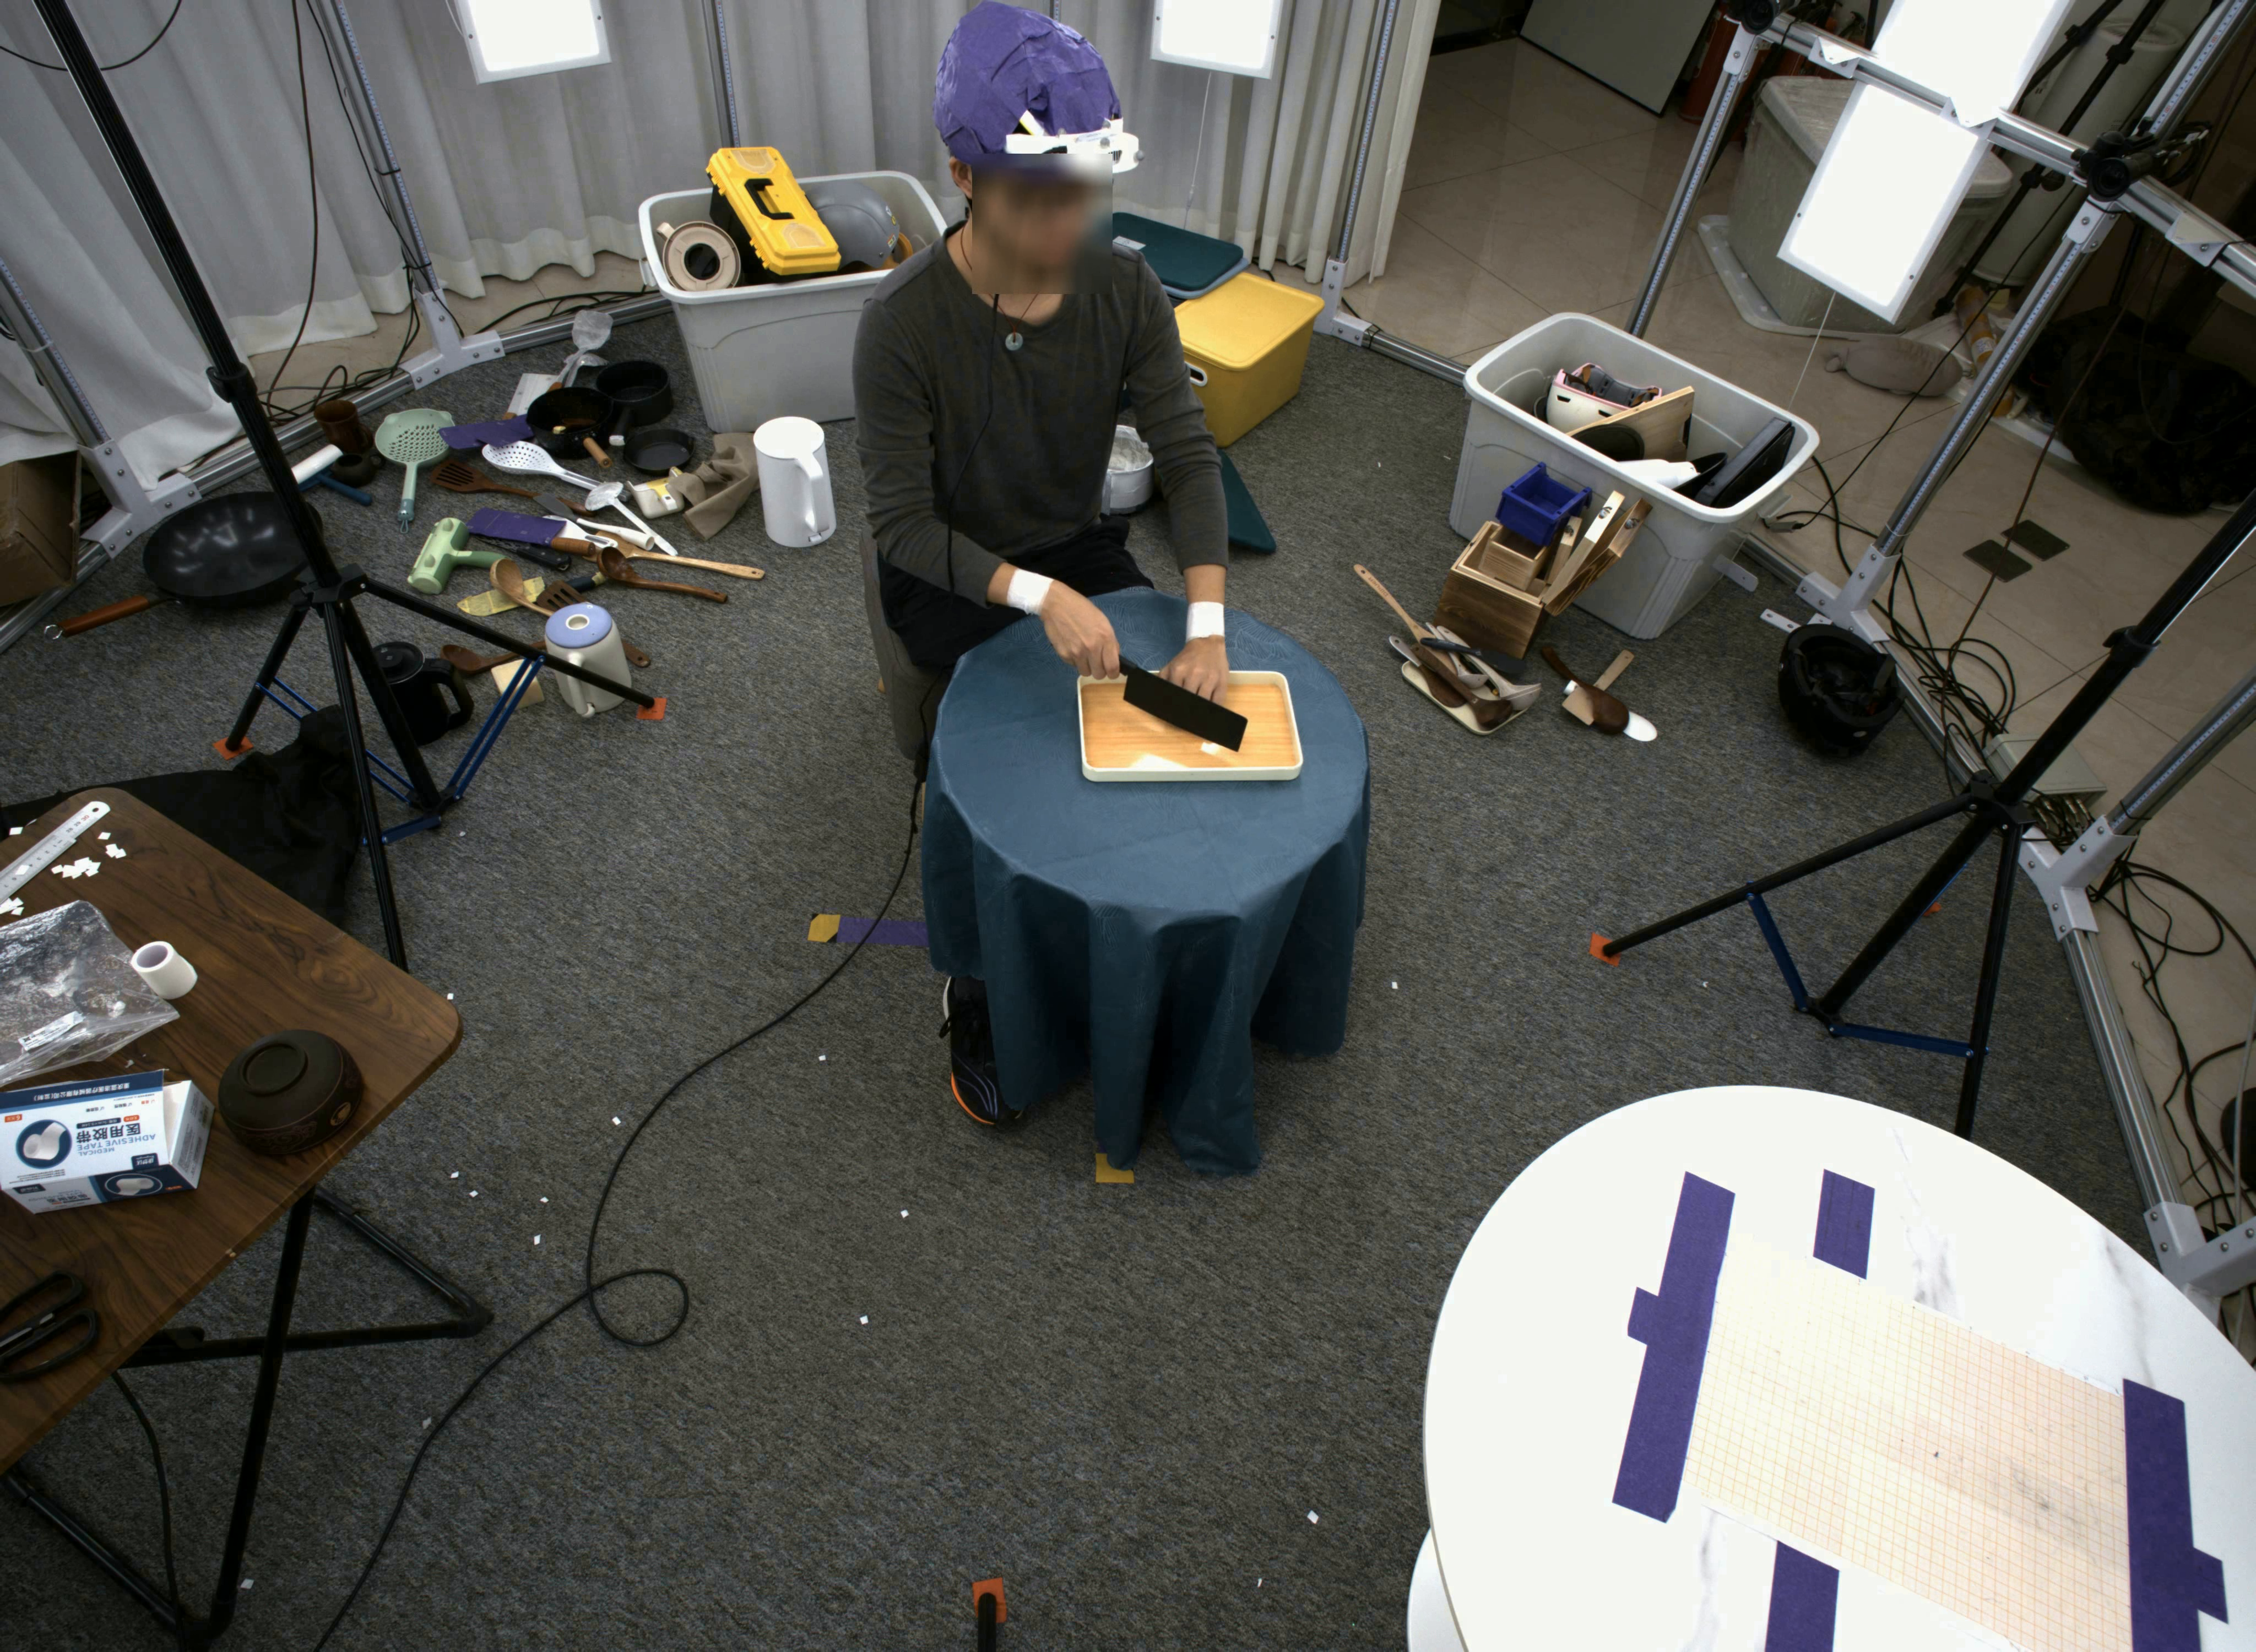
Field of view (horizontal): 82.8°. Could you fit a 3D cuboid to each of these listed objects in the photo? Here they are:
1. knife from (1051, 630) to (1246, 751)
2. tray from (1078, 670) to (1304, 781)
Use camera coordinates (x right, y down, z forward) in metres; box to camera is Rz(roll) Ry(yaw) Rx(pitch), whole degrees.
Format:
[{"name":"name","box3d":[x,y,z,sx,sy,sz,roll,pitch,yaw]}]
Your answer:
[{"name":"knife","box3d":[0.025,-0.189,1.756,0.304,0.079,0.021,30,46,12]},{"name":"tray","box3d":[0.083,-0.141,1.778,0.300,0.027,0.196,0,49,-5]}]
